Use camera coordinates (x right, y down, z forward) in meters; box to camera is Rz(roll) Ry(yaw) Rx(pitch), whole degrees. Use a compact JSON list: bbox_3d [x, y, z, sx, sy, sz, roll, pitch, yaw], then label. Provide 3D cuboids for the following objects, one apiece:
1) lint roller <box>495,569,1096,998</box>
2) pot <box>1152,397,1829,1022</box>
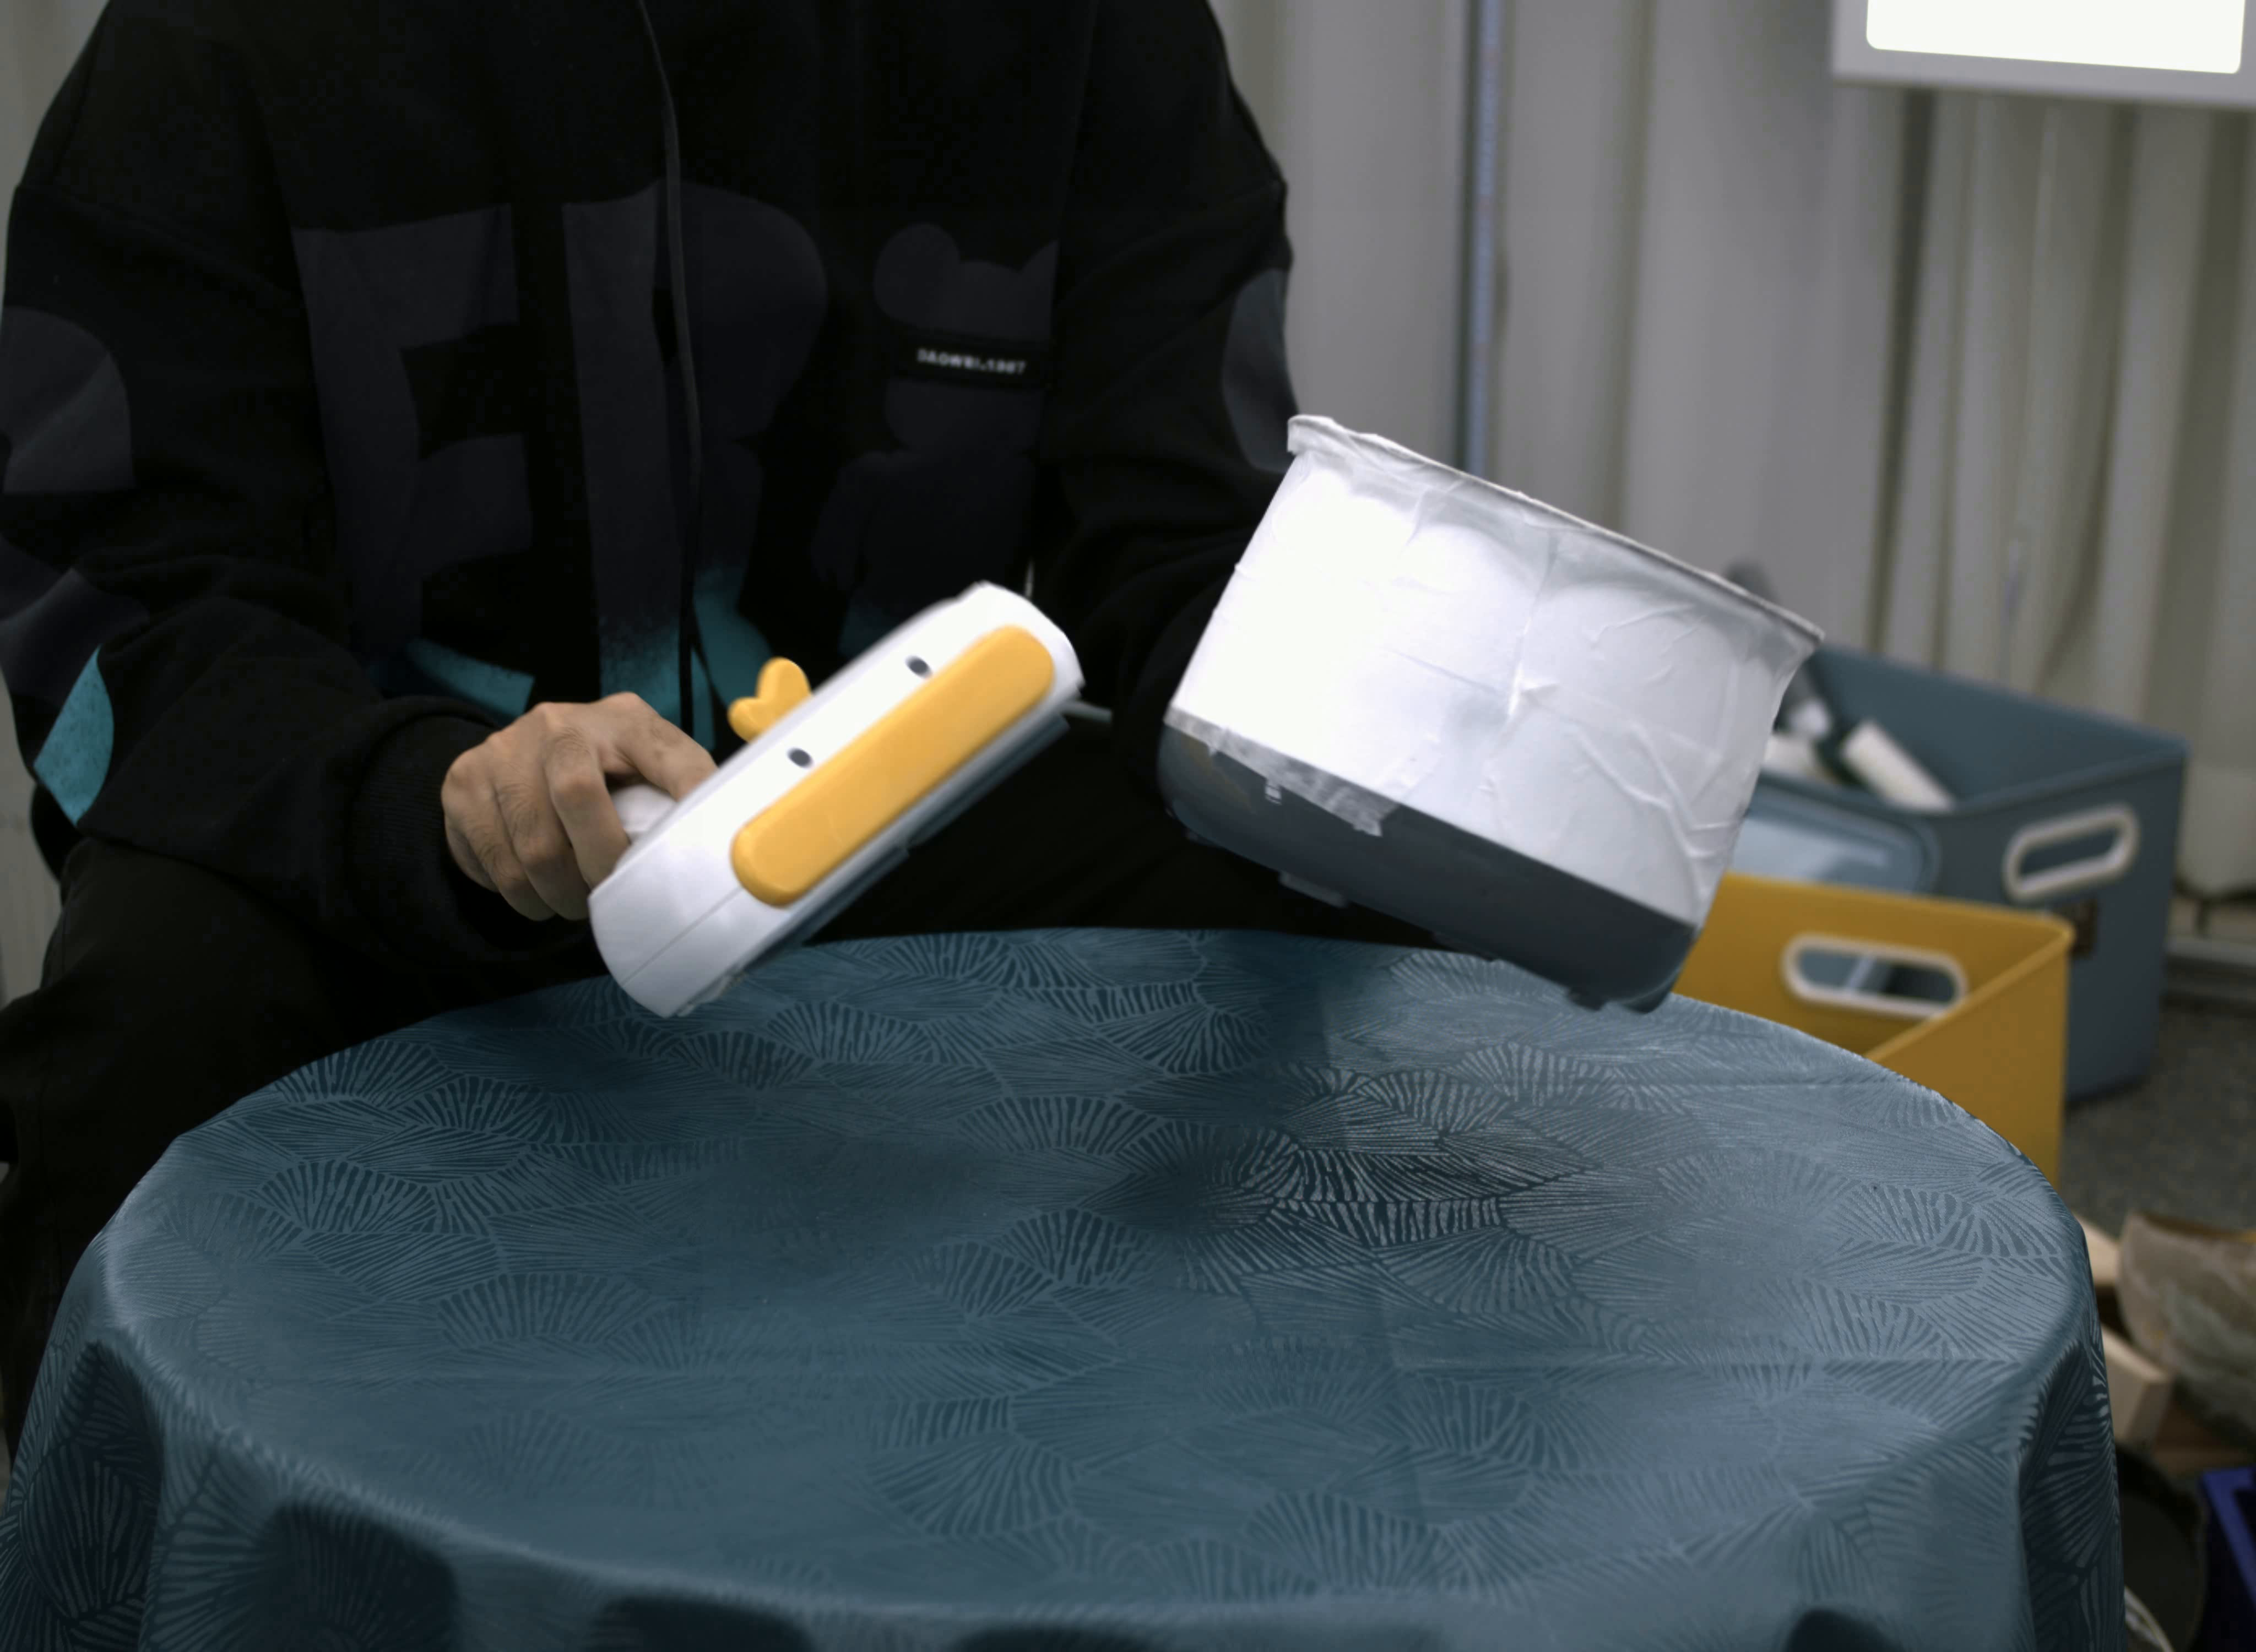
[{"bbox_3d":[-0.124,-0.003,1.647,0.191,0.074,0.192,-23,17,45],"label":"lint roller"},{"bbox_3d":[0.097,-0.039,1.629,0.180,0.137,0.231,26,2,-22],"label":"pot"}]
